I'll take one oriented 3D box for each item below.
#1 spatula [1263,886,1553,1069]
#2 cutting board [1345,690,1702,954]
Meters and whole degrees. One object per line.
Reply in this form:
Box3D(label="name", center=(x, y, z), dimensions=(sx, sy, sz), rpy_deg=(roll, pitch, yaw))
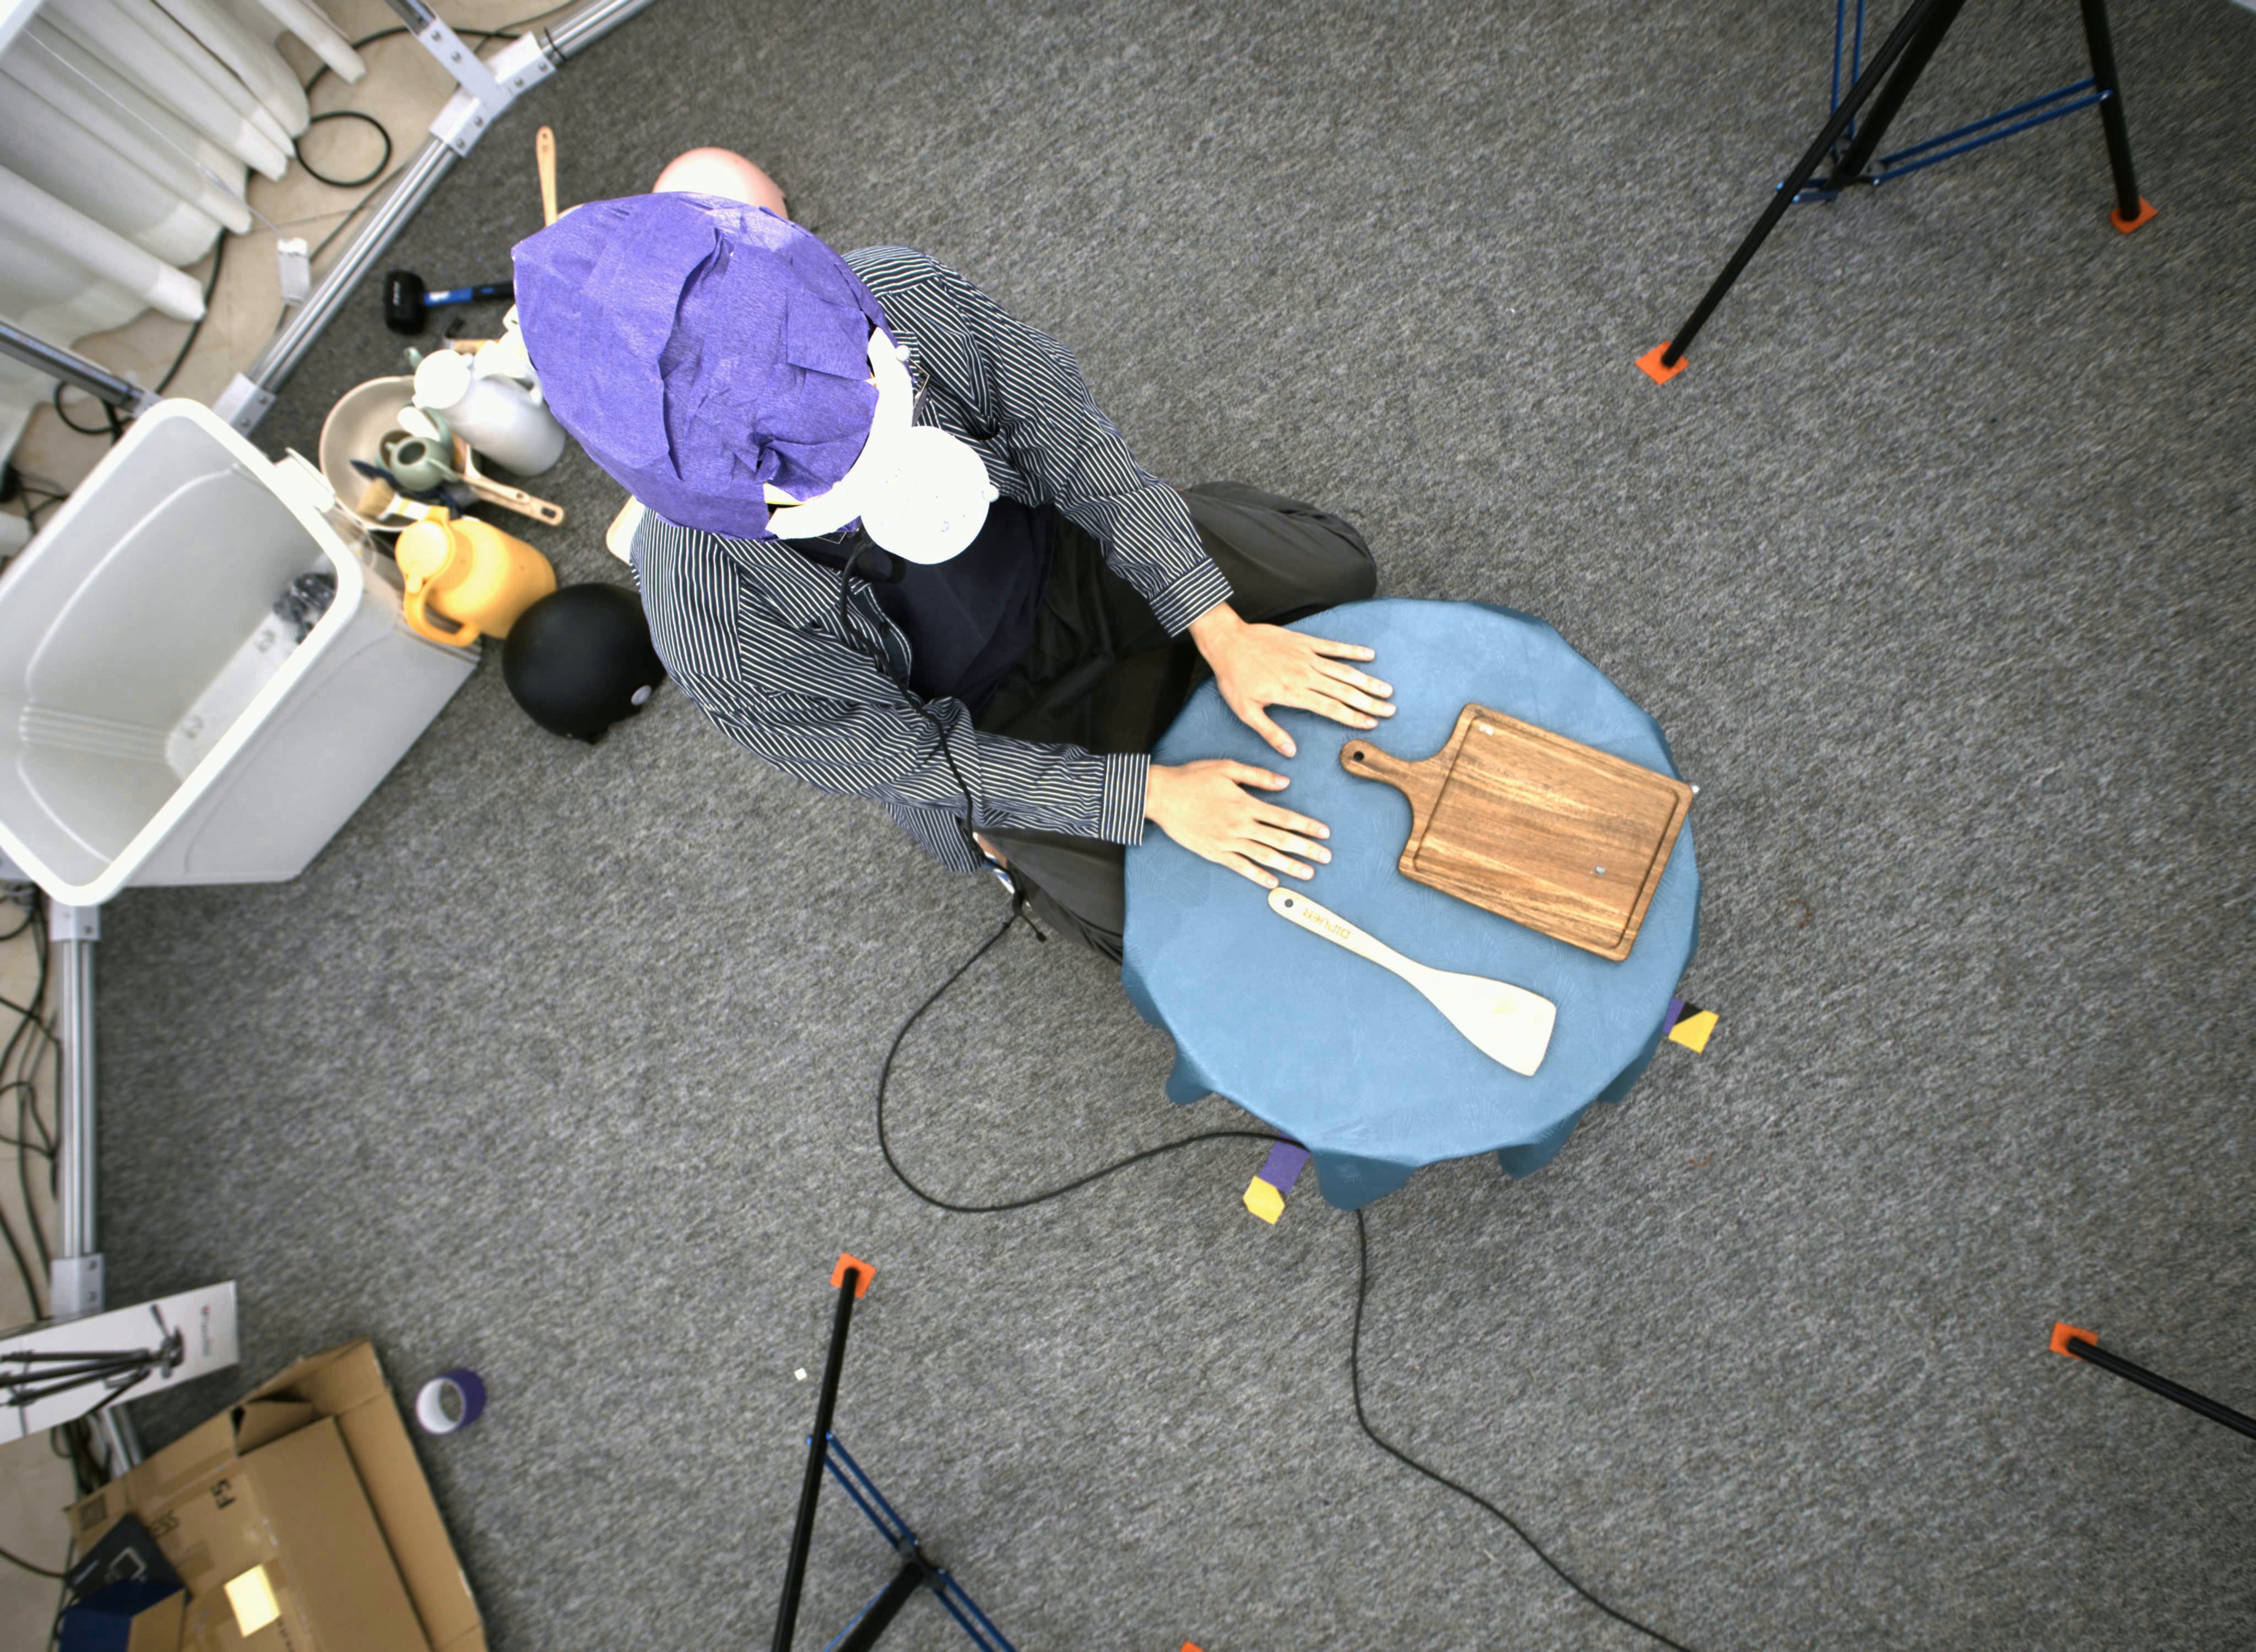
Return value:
Box3D(label="spatula", center=(0.288, 0.141, 1.434), dimensions=(0.327, 0.016, 0.080), rpy_deg=(27, 92, 10))
Box3D(label="cutting board", center=(0.390, -0.027, 1.420), dimensions=(0.352, 0.023, 0.201), rpy_deg=(23, 92, 10))
